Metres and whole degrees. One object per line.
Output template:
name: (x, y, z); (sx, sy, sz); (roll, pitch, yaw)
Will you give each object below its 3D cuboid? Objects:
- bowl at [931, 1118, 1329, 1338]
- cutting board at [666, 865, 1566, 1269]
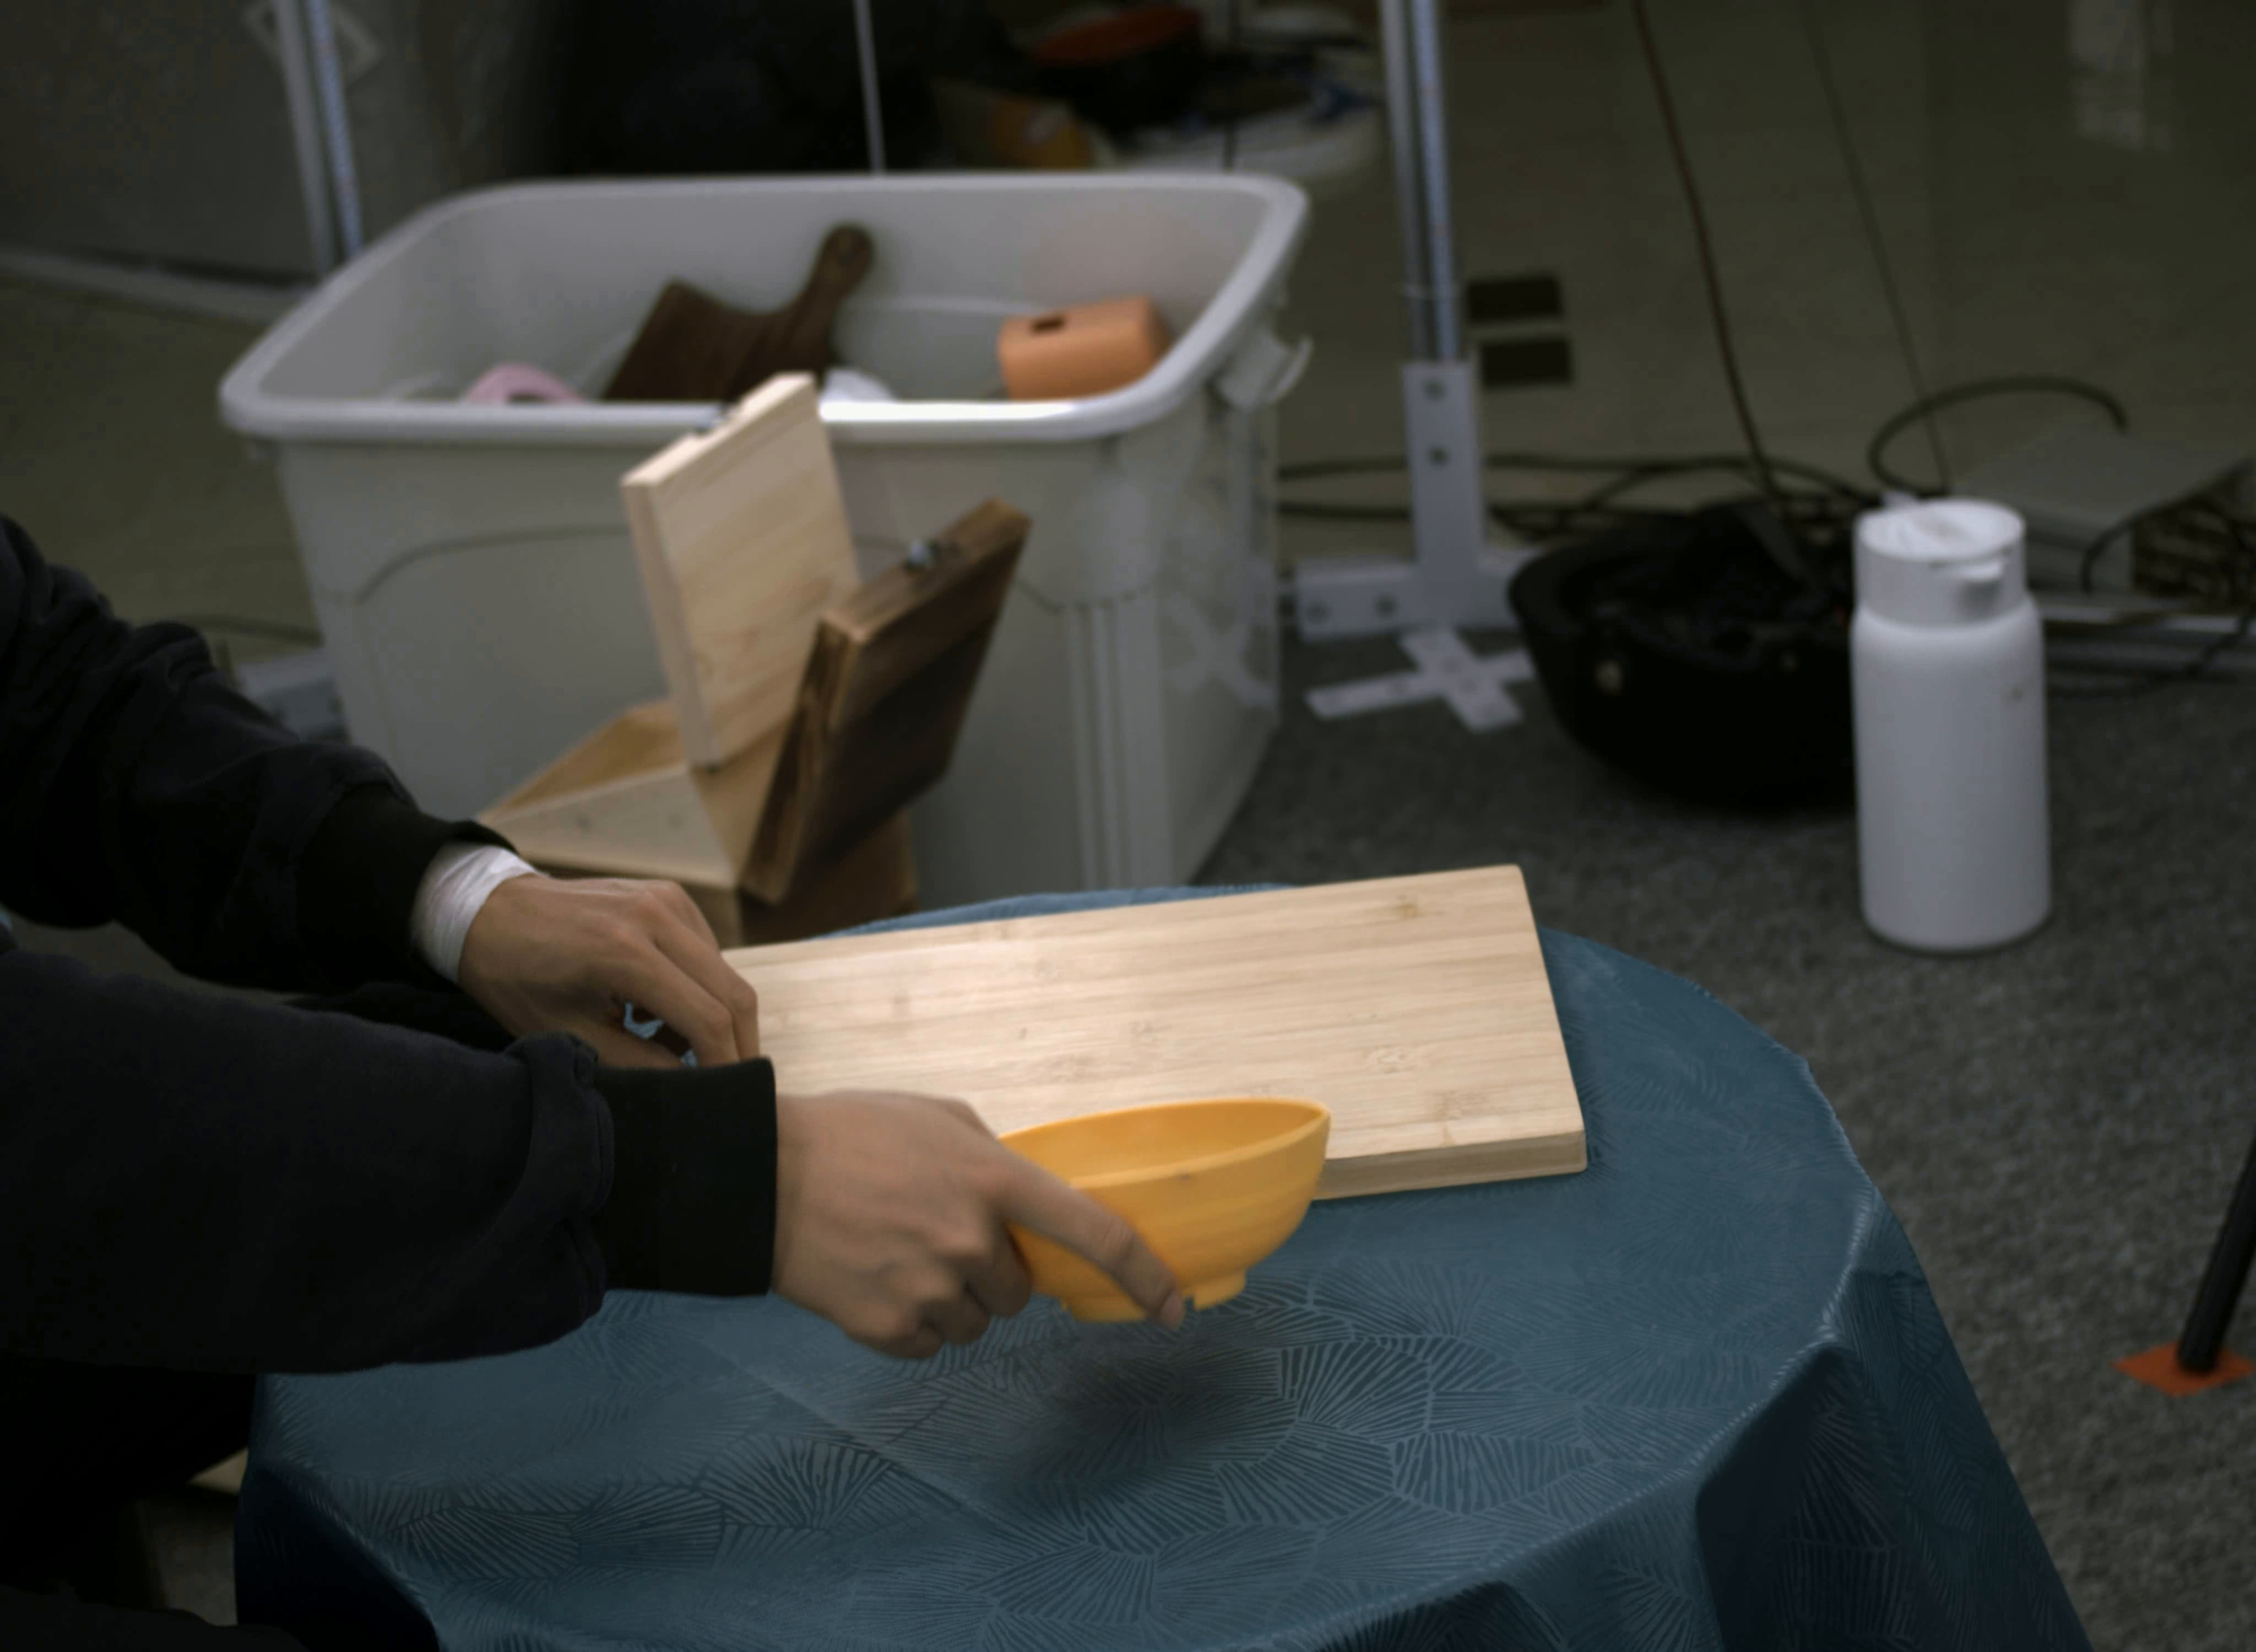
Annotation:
bowl: (0.005, 0.146, 2.022); (0.145, 0.060, 0.144); (-8, 6, 1)
cutting board: (-0.006, 0.092, 2.235); (0.348, 0.024, 0.247); (-7, 24, 0)
